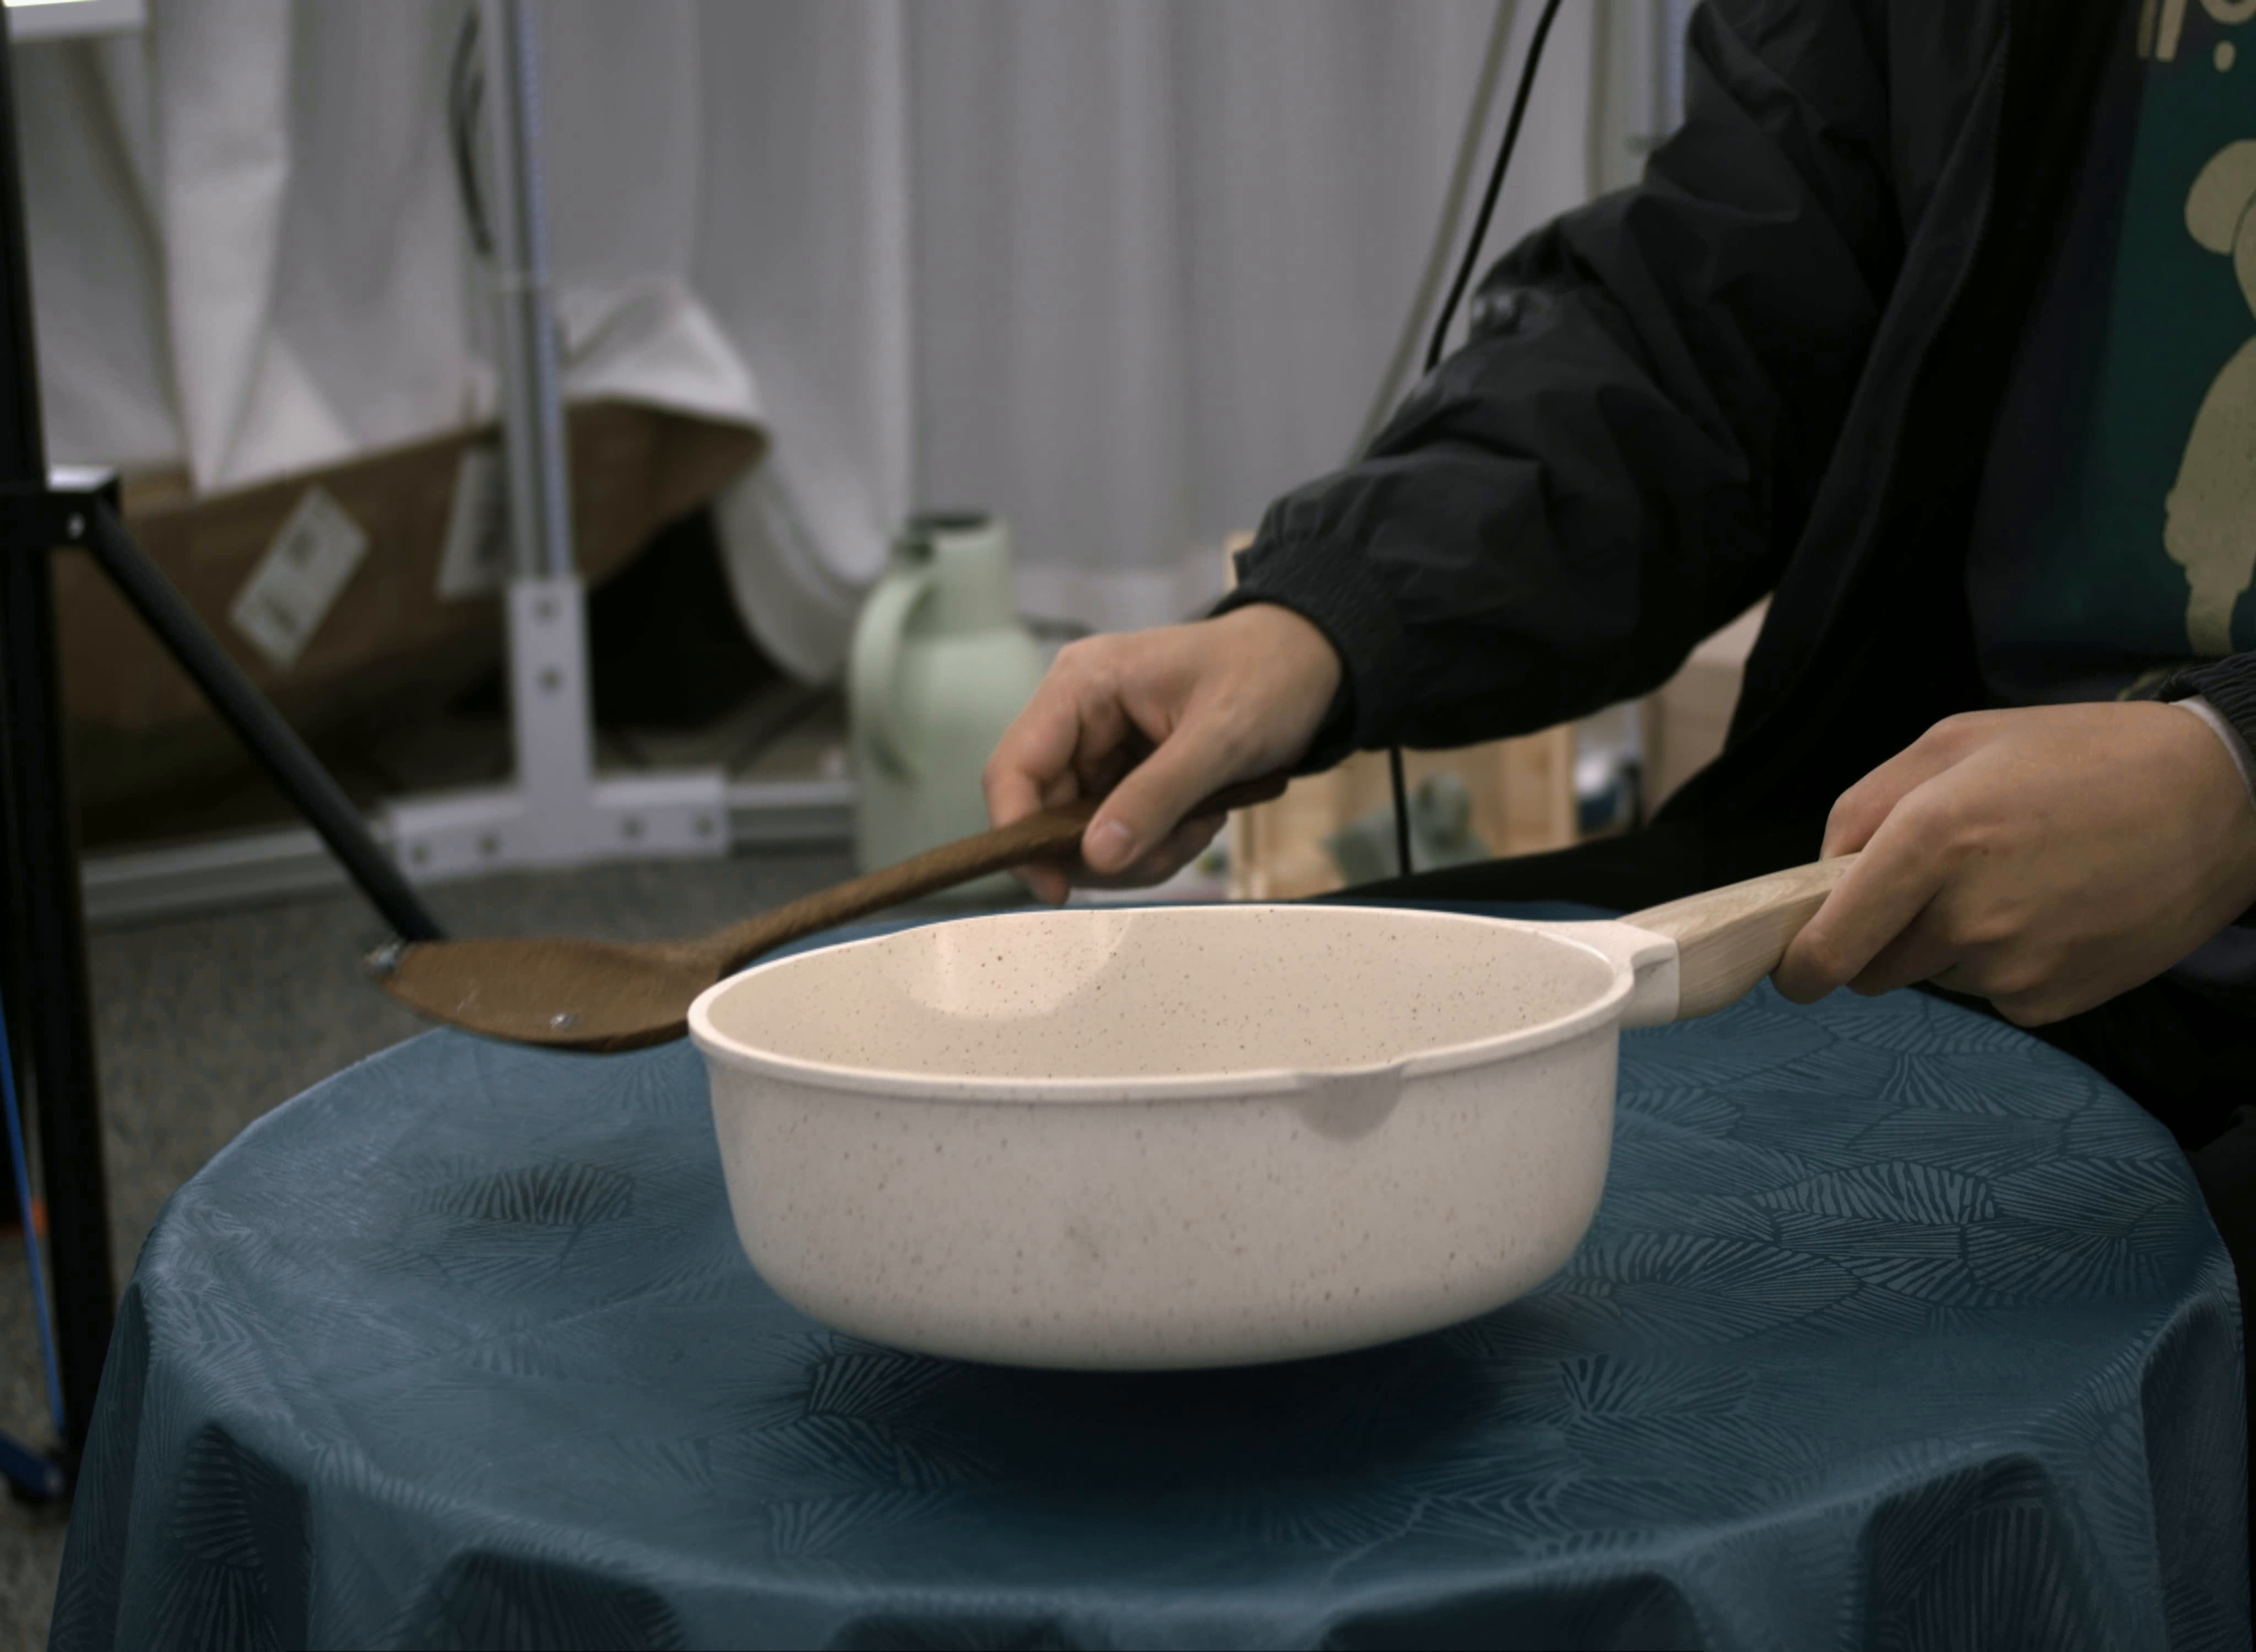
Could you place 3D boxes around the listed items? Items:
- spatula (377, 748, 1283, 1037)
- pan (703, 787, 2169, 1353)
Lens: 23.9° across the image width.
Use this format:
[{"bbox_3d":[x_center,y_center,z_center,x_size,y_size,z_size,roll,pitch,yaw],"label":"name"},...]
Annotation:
[{"bbox_3d":[-0.074,0.015,1.676,0.098,0.016,0.377,20,24,37],"label":"spatula"},{"bbox_3d":[0.099,0.062,1.432,0.426,0.102,0.267,-6,7,-20],"label":"pan"}]
